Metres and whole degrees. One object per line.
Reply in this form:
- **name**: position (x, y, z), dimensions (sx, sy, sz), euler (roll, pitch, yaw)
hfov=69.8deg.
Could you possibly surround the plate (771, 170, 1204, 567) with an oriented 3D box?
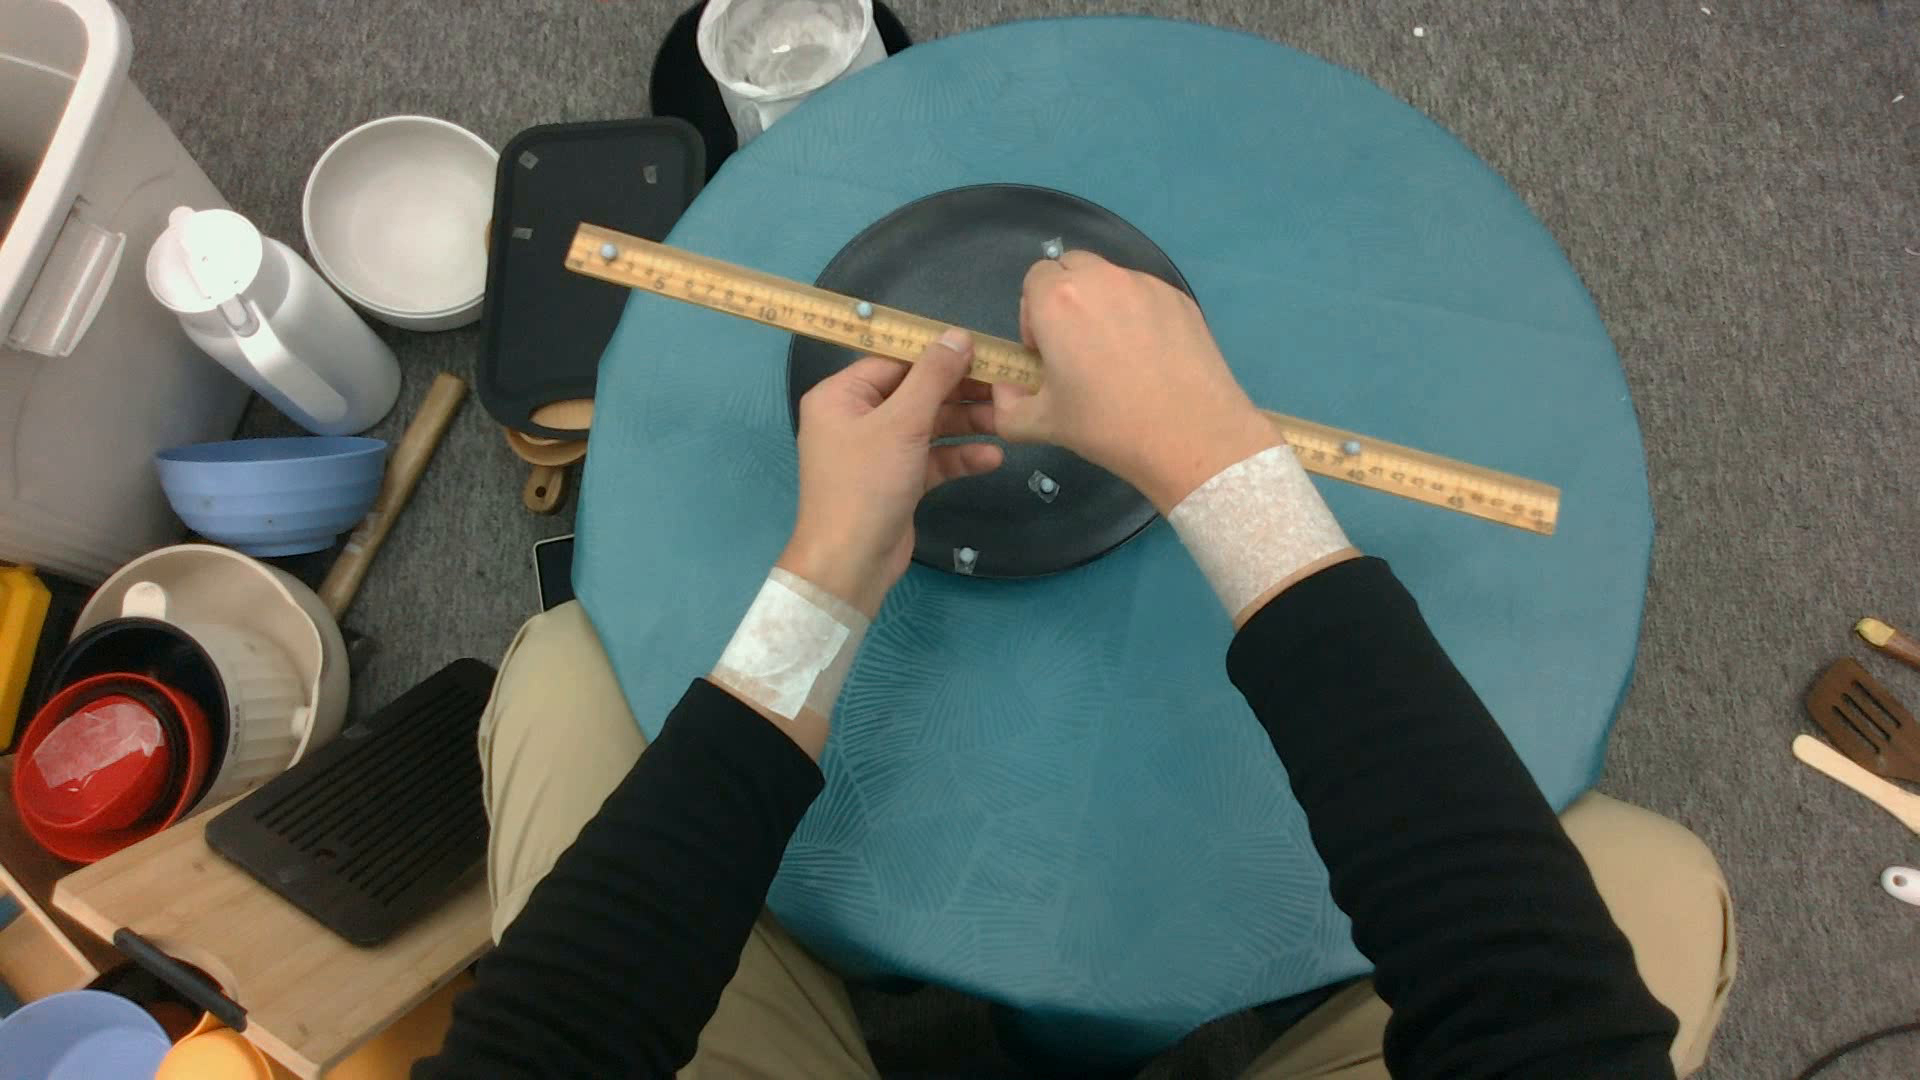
- **plate**: position (0.015, -0.099, 0.782), dimensions (0.244, 0.023, 0.245), euler (0, 73, 0)

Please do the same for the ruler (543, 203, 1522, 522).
- **ruler**: position (0.040, -0.086, 0.682), dimensions (0.500, 0.006, 0.027), euler (16, 78, -2)
